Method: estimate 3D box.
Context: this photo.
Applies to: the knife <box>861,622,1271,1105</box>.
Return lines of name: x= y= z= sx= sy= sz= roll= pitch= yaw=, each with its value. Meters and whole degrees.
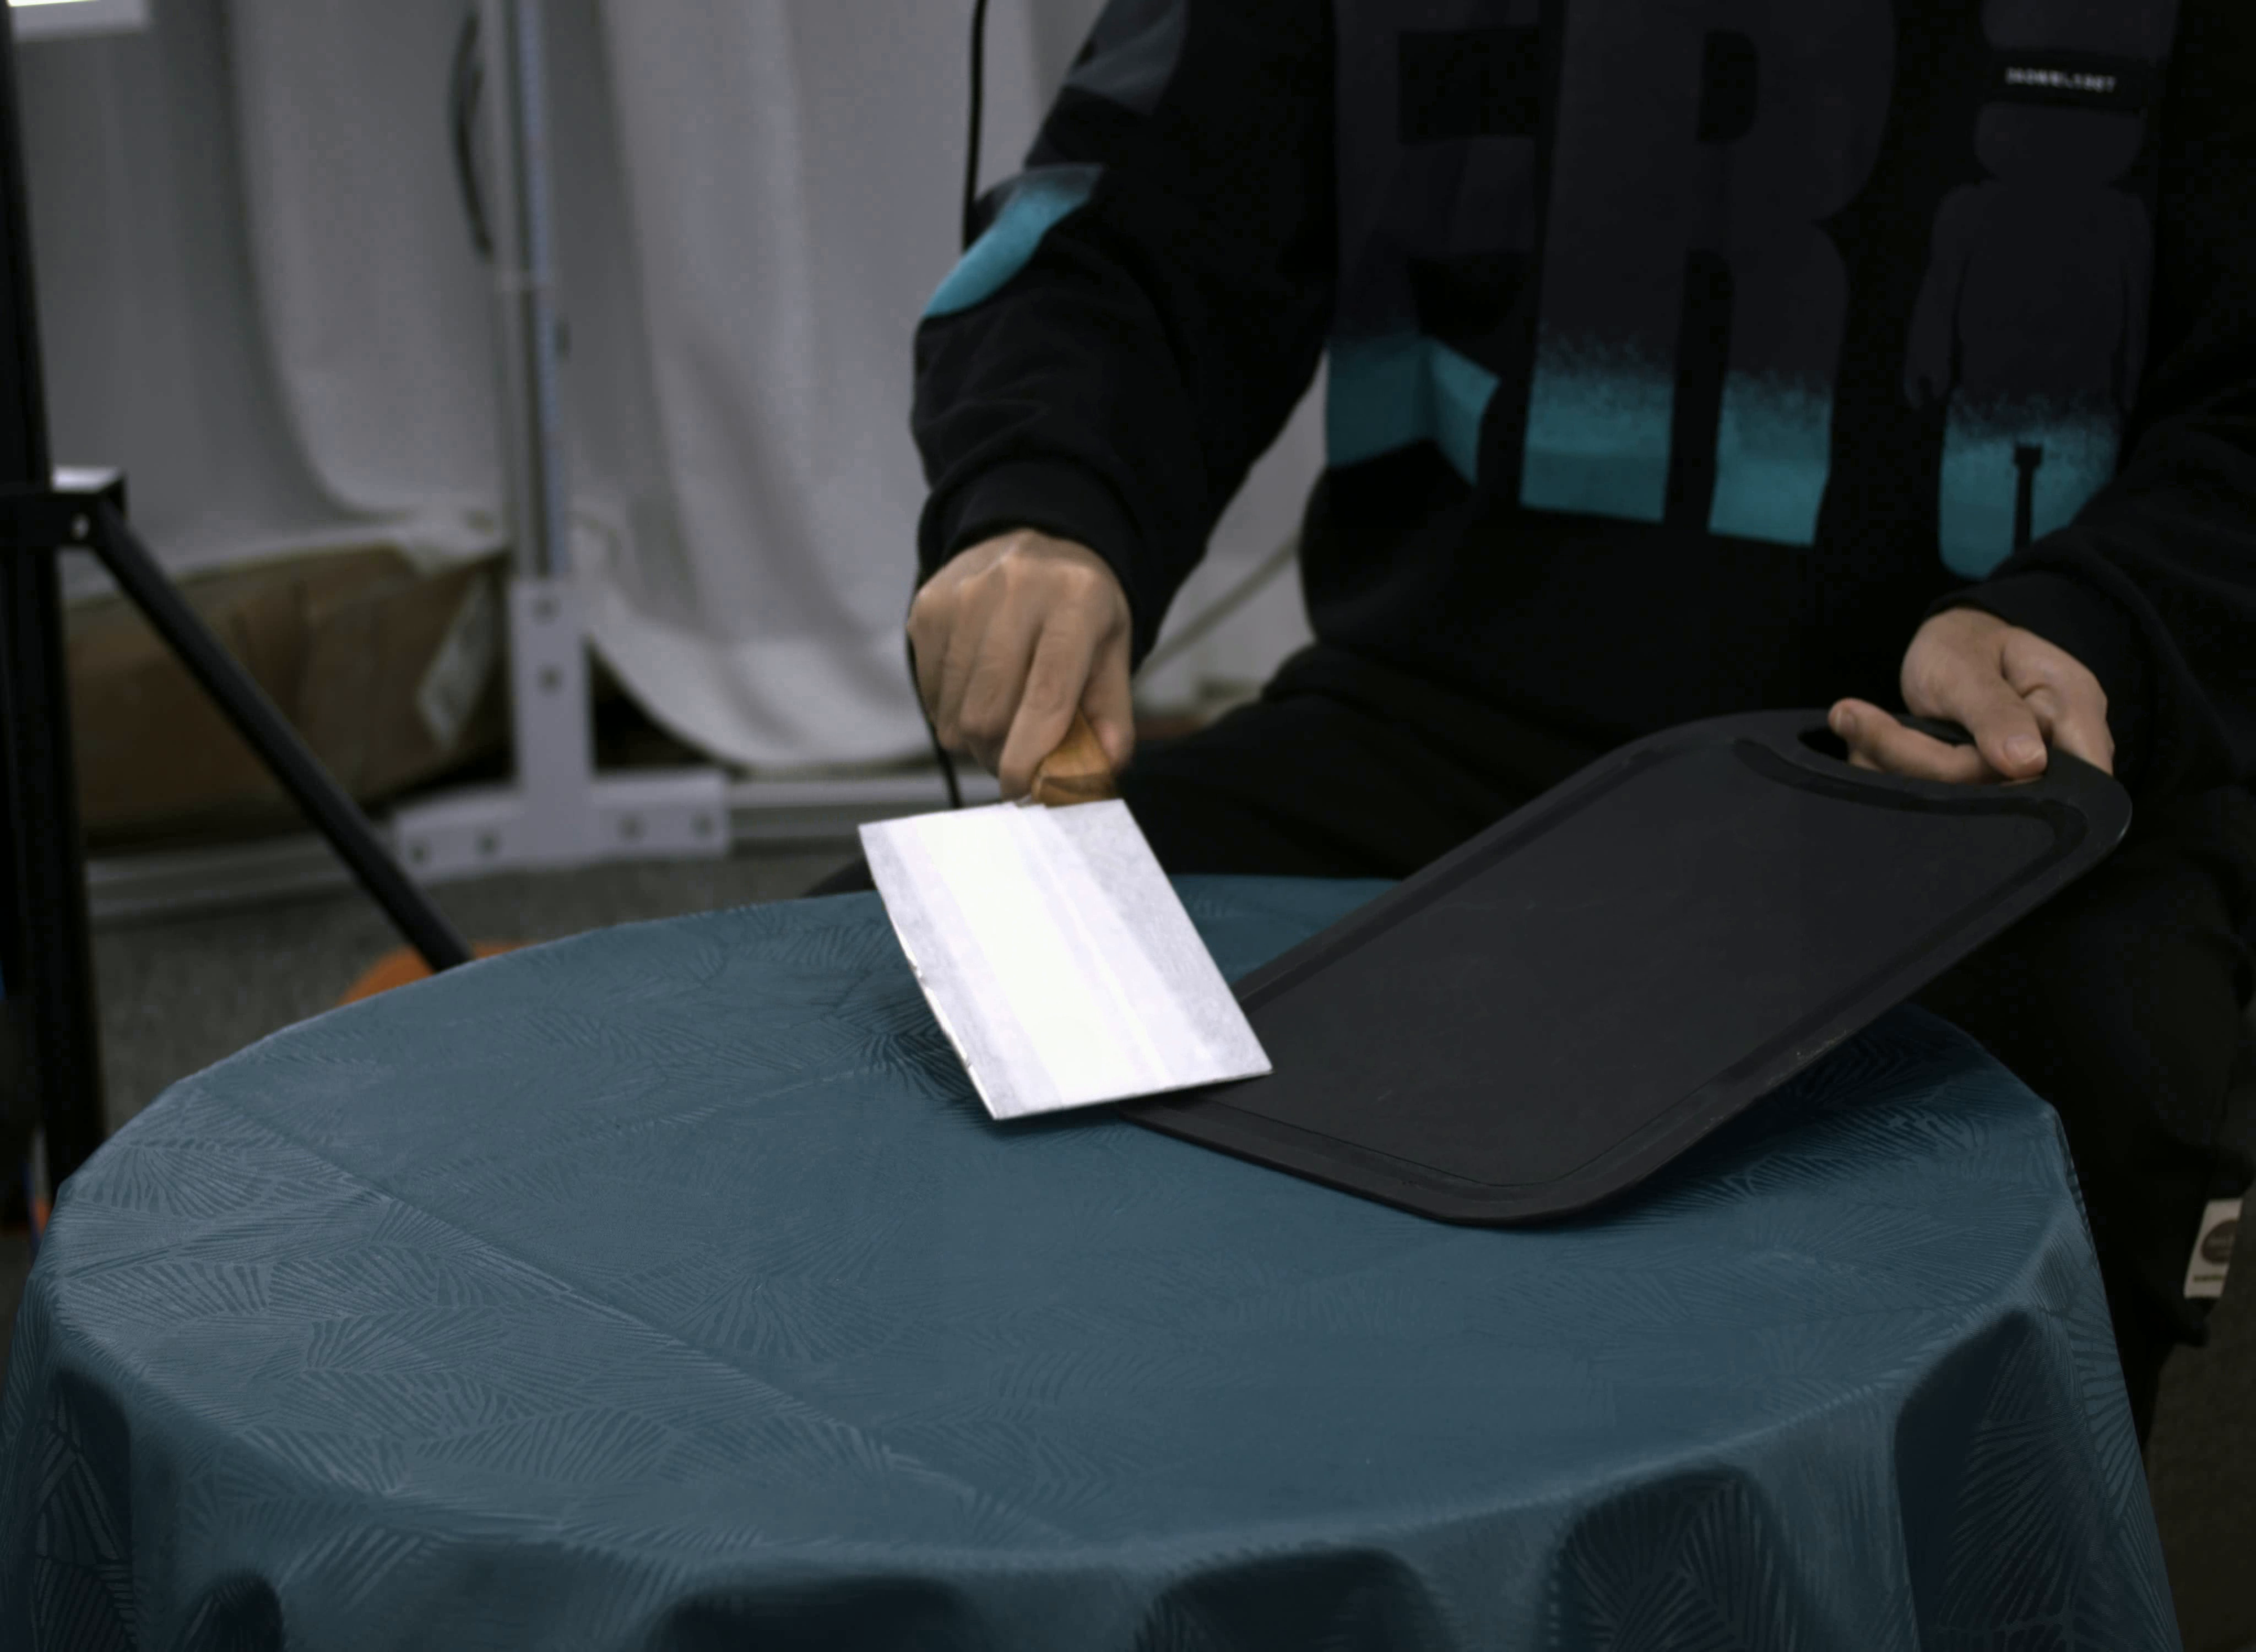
knife: x=-0.036 y=0.010 z=1.748 sx=0.091 sy=0.021 sz=0.311 roll=-9 pitch=30 yaw=-12

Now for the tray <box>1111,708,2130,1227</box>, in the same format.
tray: x=0.160 y=0.034 z=1.654 sx=0.320 sy=0.010 sz=0.216 roll=-30 pitch=28 yaw=-33
